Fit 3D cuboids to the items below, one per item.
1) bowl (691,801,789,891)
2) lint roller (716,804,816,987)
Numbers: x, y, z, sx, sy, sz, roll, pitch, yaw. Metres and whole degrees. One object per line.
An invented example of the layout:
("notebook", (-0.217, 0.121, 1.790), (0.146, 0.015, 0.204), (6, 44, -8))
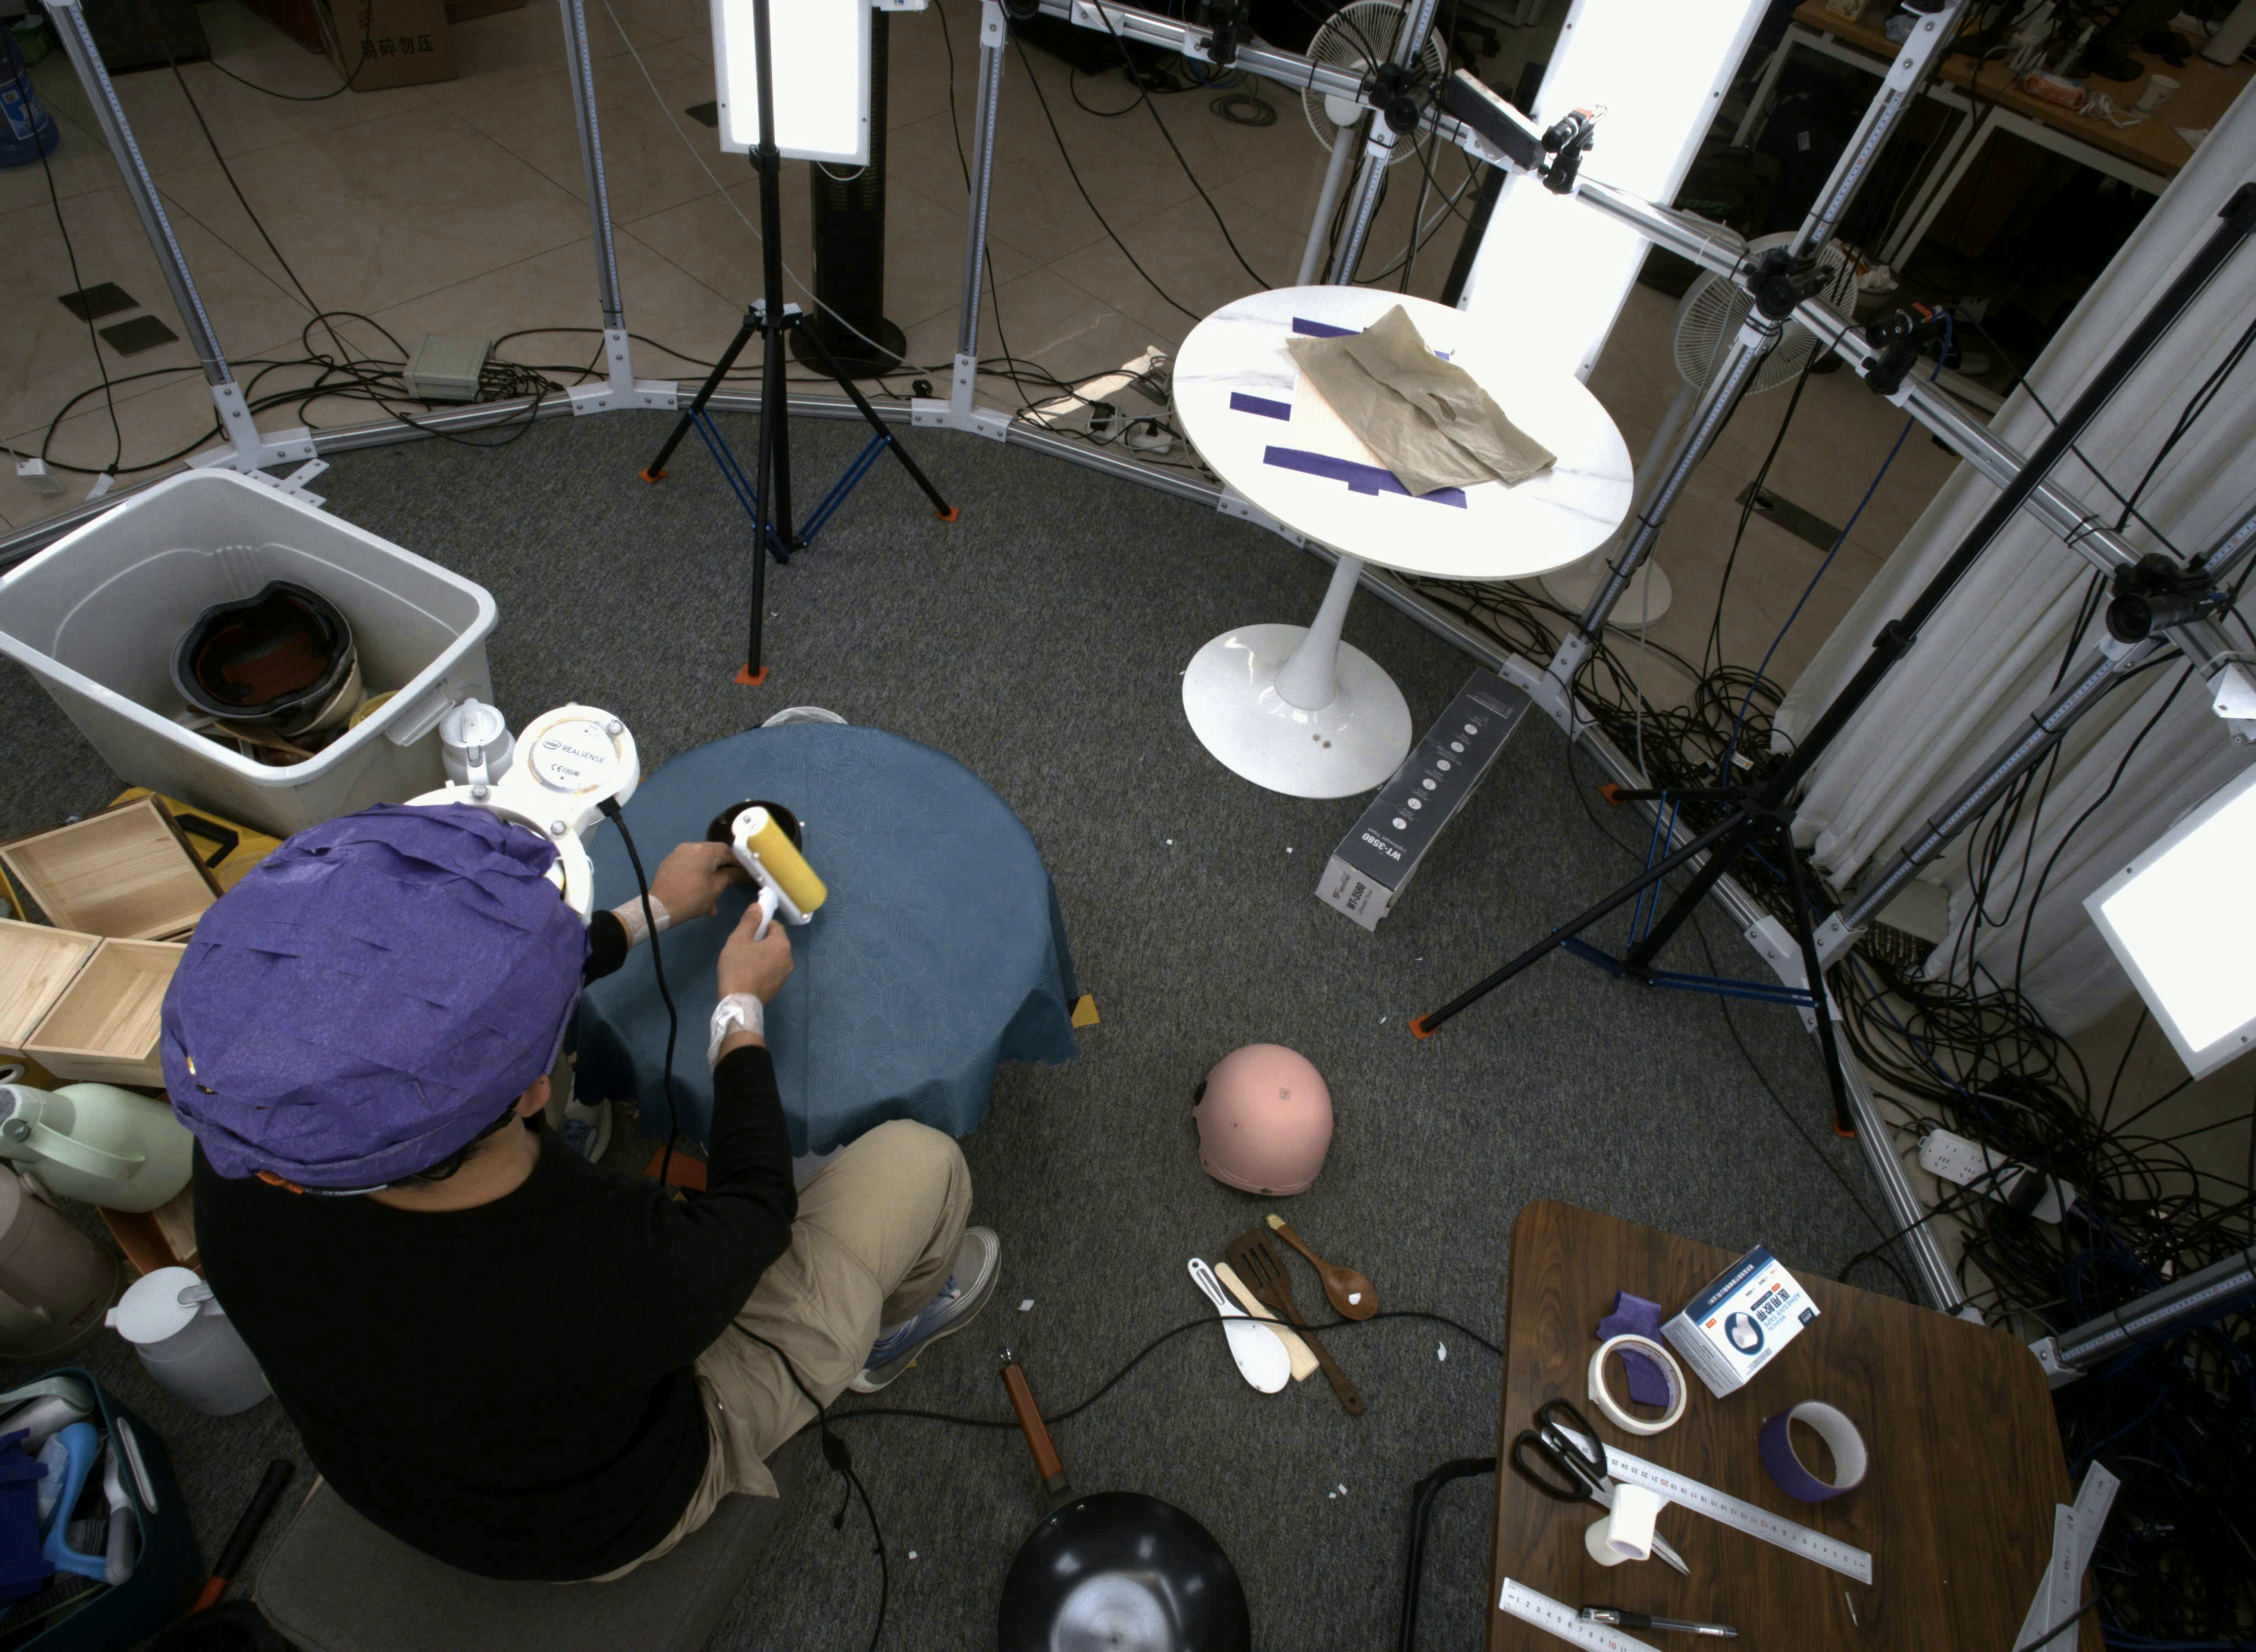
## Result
("bowl", (-0.485, 0.032, 1.627), (0.117, 0.072, 0.116), (3, 49, -2))
("lint roller", (-0.428, 0.097, 1.520), (0.050, 0.181, 0.188), (-14, 53, 9))
